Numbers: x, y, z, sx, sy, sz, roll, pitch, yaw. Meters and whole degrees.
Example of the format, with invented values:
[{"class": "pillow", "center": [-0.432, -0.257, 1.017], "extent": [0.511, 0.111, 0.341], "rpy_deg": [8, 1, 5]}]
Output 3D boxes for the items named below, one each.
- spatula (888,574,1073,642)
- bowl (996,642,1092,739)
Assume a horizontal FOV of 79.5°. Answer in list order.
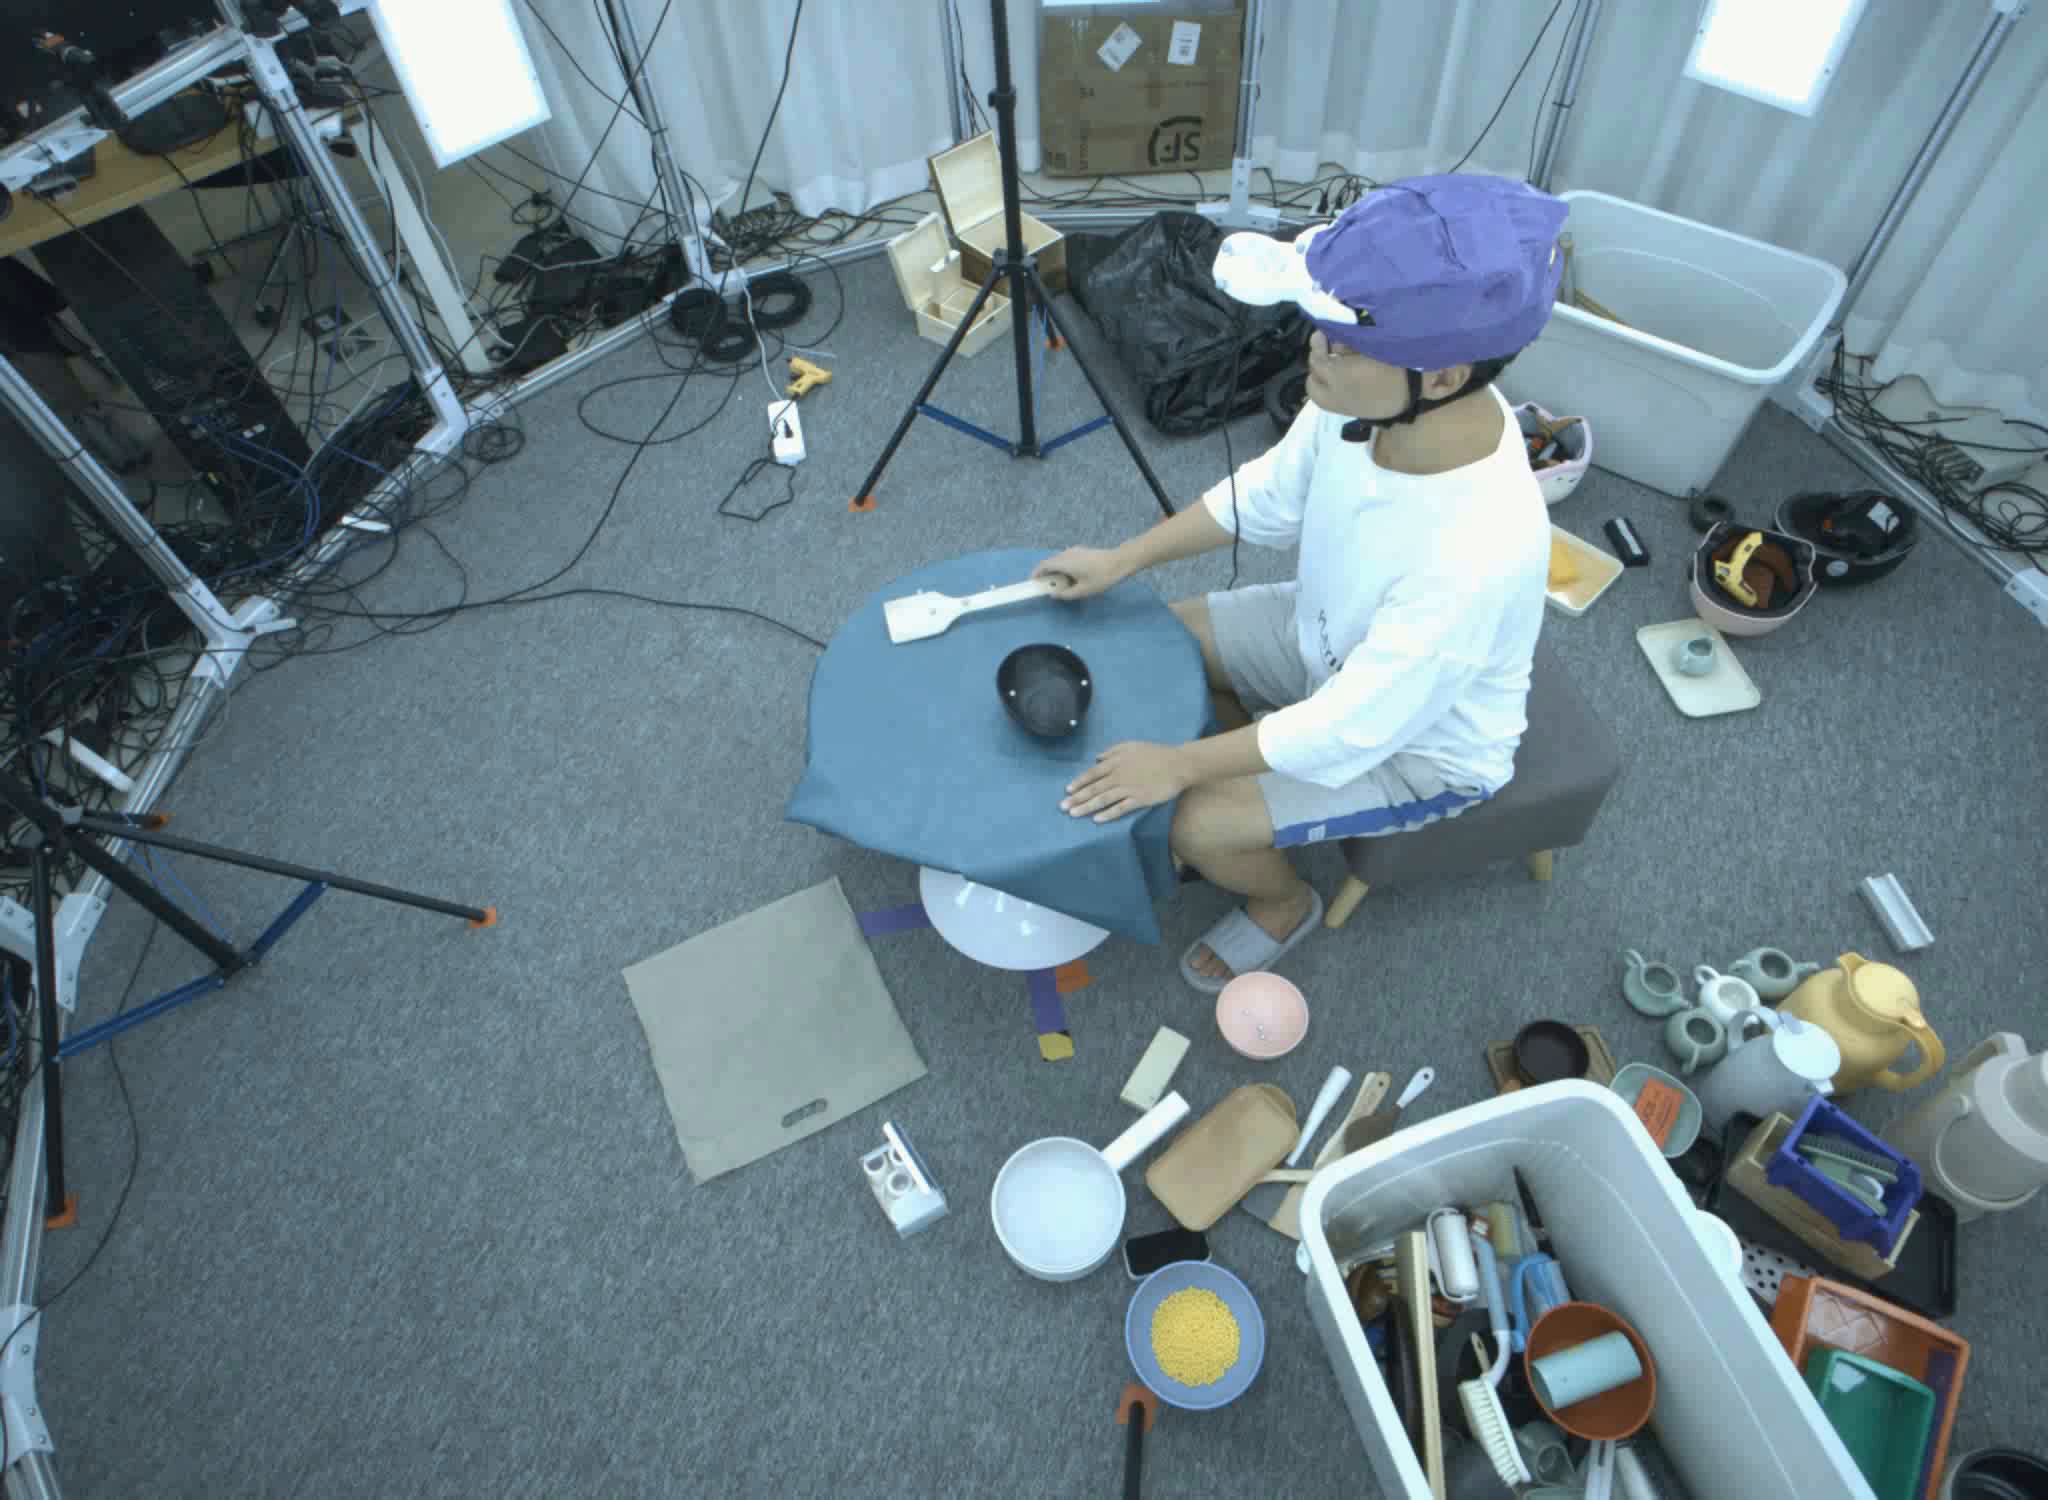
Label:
[{"class": "spatula", "center": [-0.067, -0.234, 1.924], "extent": [0.293, 0.011, 0.072], "rpy_deg": [-13, 77, -2]}, {"class": "bowl", "center": [0.031, -0.079, 1.801], "extent": [0.138, 0.067, 0.167], "rpy_deg": [-16, 58, -10]}]
